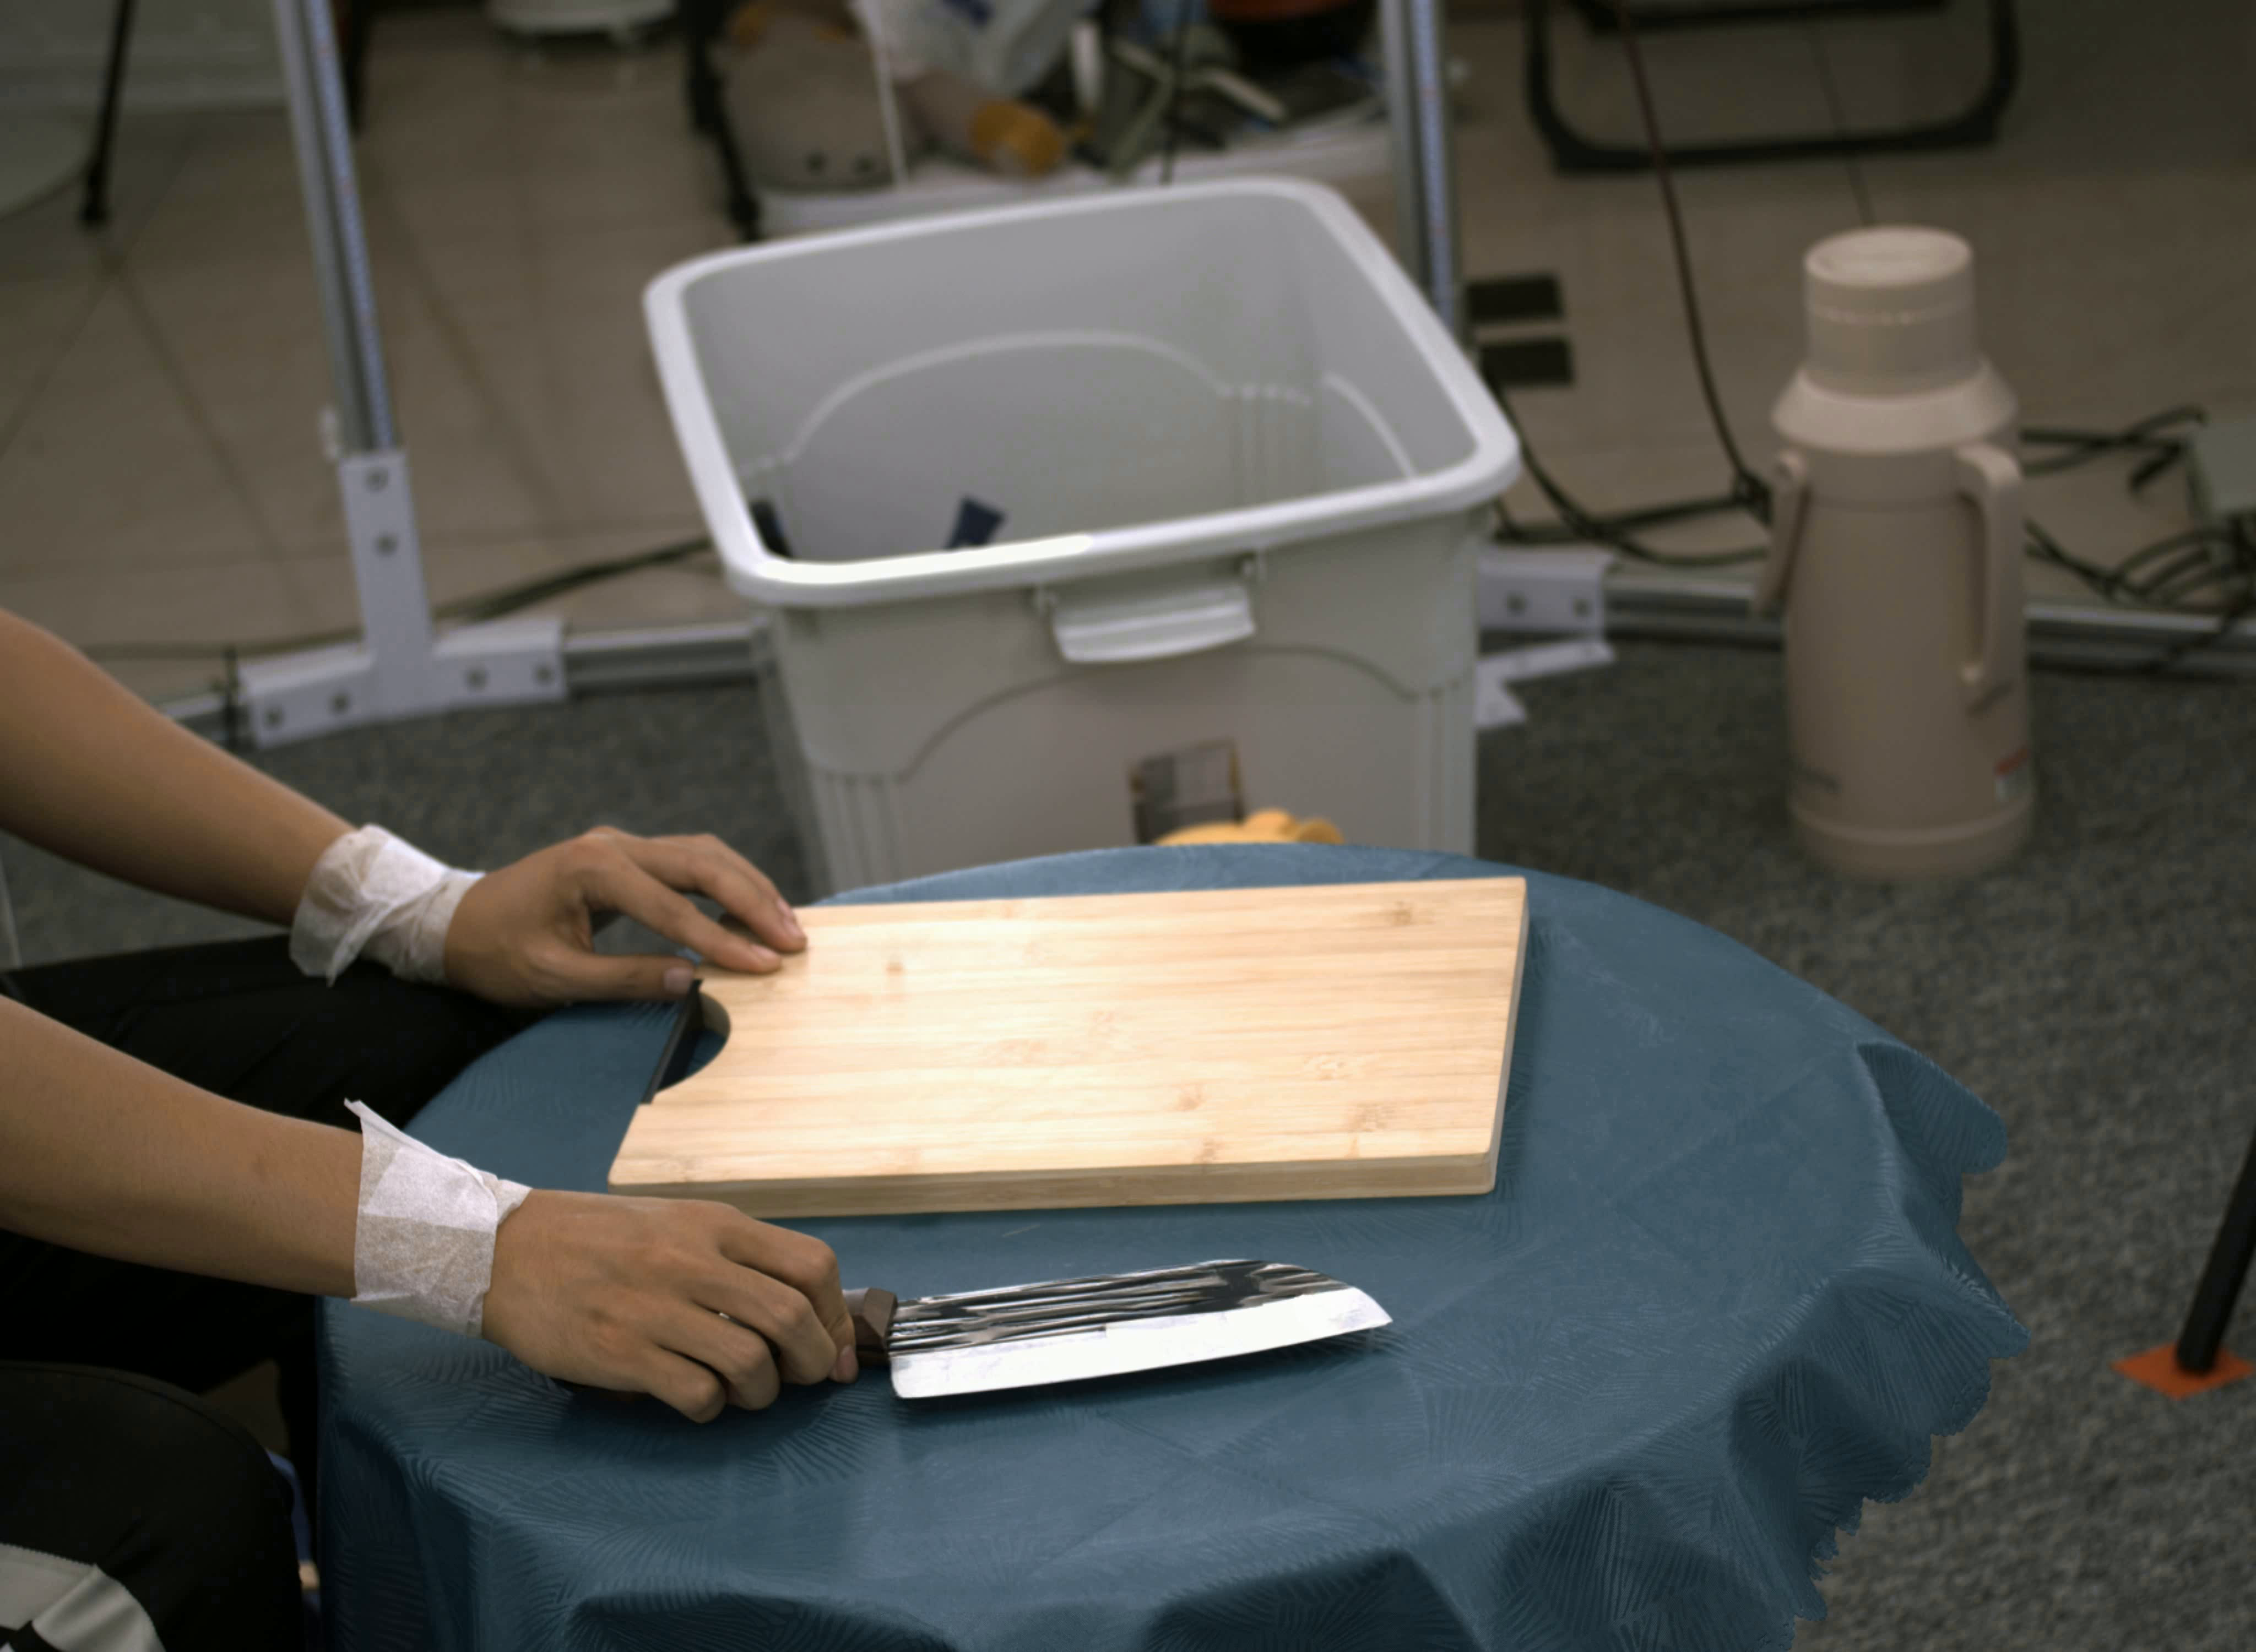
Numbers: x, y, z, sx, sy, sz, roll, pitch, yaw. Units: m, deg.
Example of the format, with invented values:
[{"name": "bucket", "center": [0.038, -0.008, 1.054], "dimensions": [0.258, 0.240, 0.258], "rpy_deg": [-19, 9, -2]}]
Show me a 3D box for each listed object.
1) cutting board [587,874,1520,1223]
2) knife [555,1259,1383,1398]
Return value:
[{"name": "cutting board", "center": [-0.023, 0.087, 2.250], "dimensions": [0.348, 0.024, 0.247], "rpy_deg": [-3, 25, 8]}, {"name": "knife", "center": [-0.058, 0.184, 2.041], "dimensions": [0.299, 0.024, 0.067], "rpy_deg": [-6, 26, 0]}]
